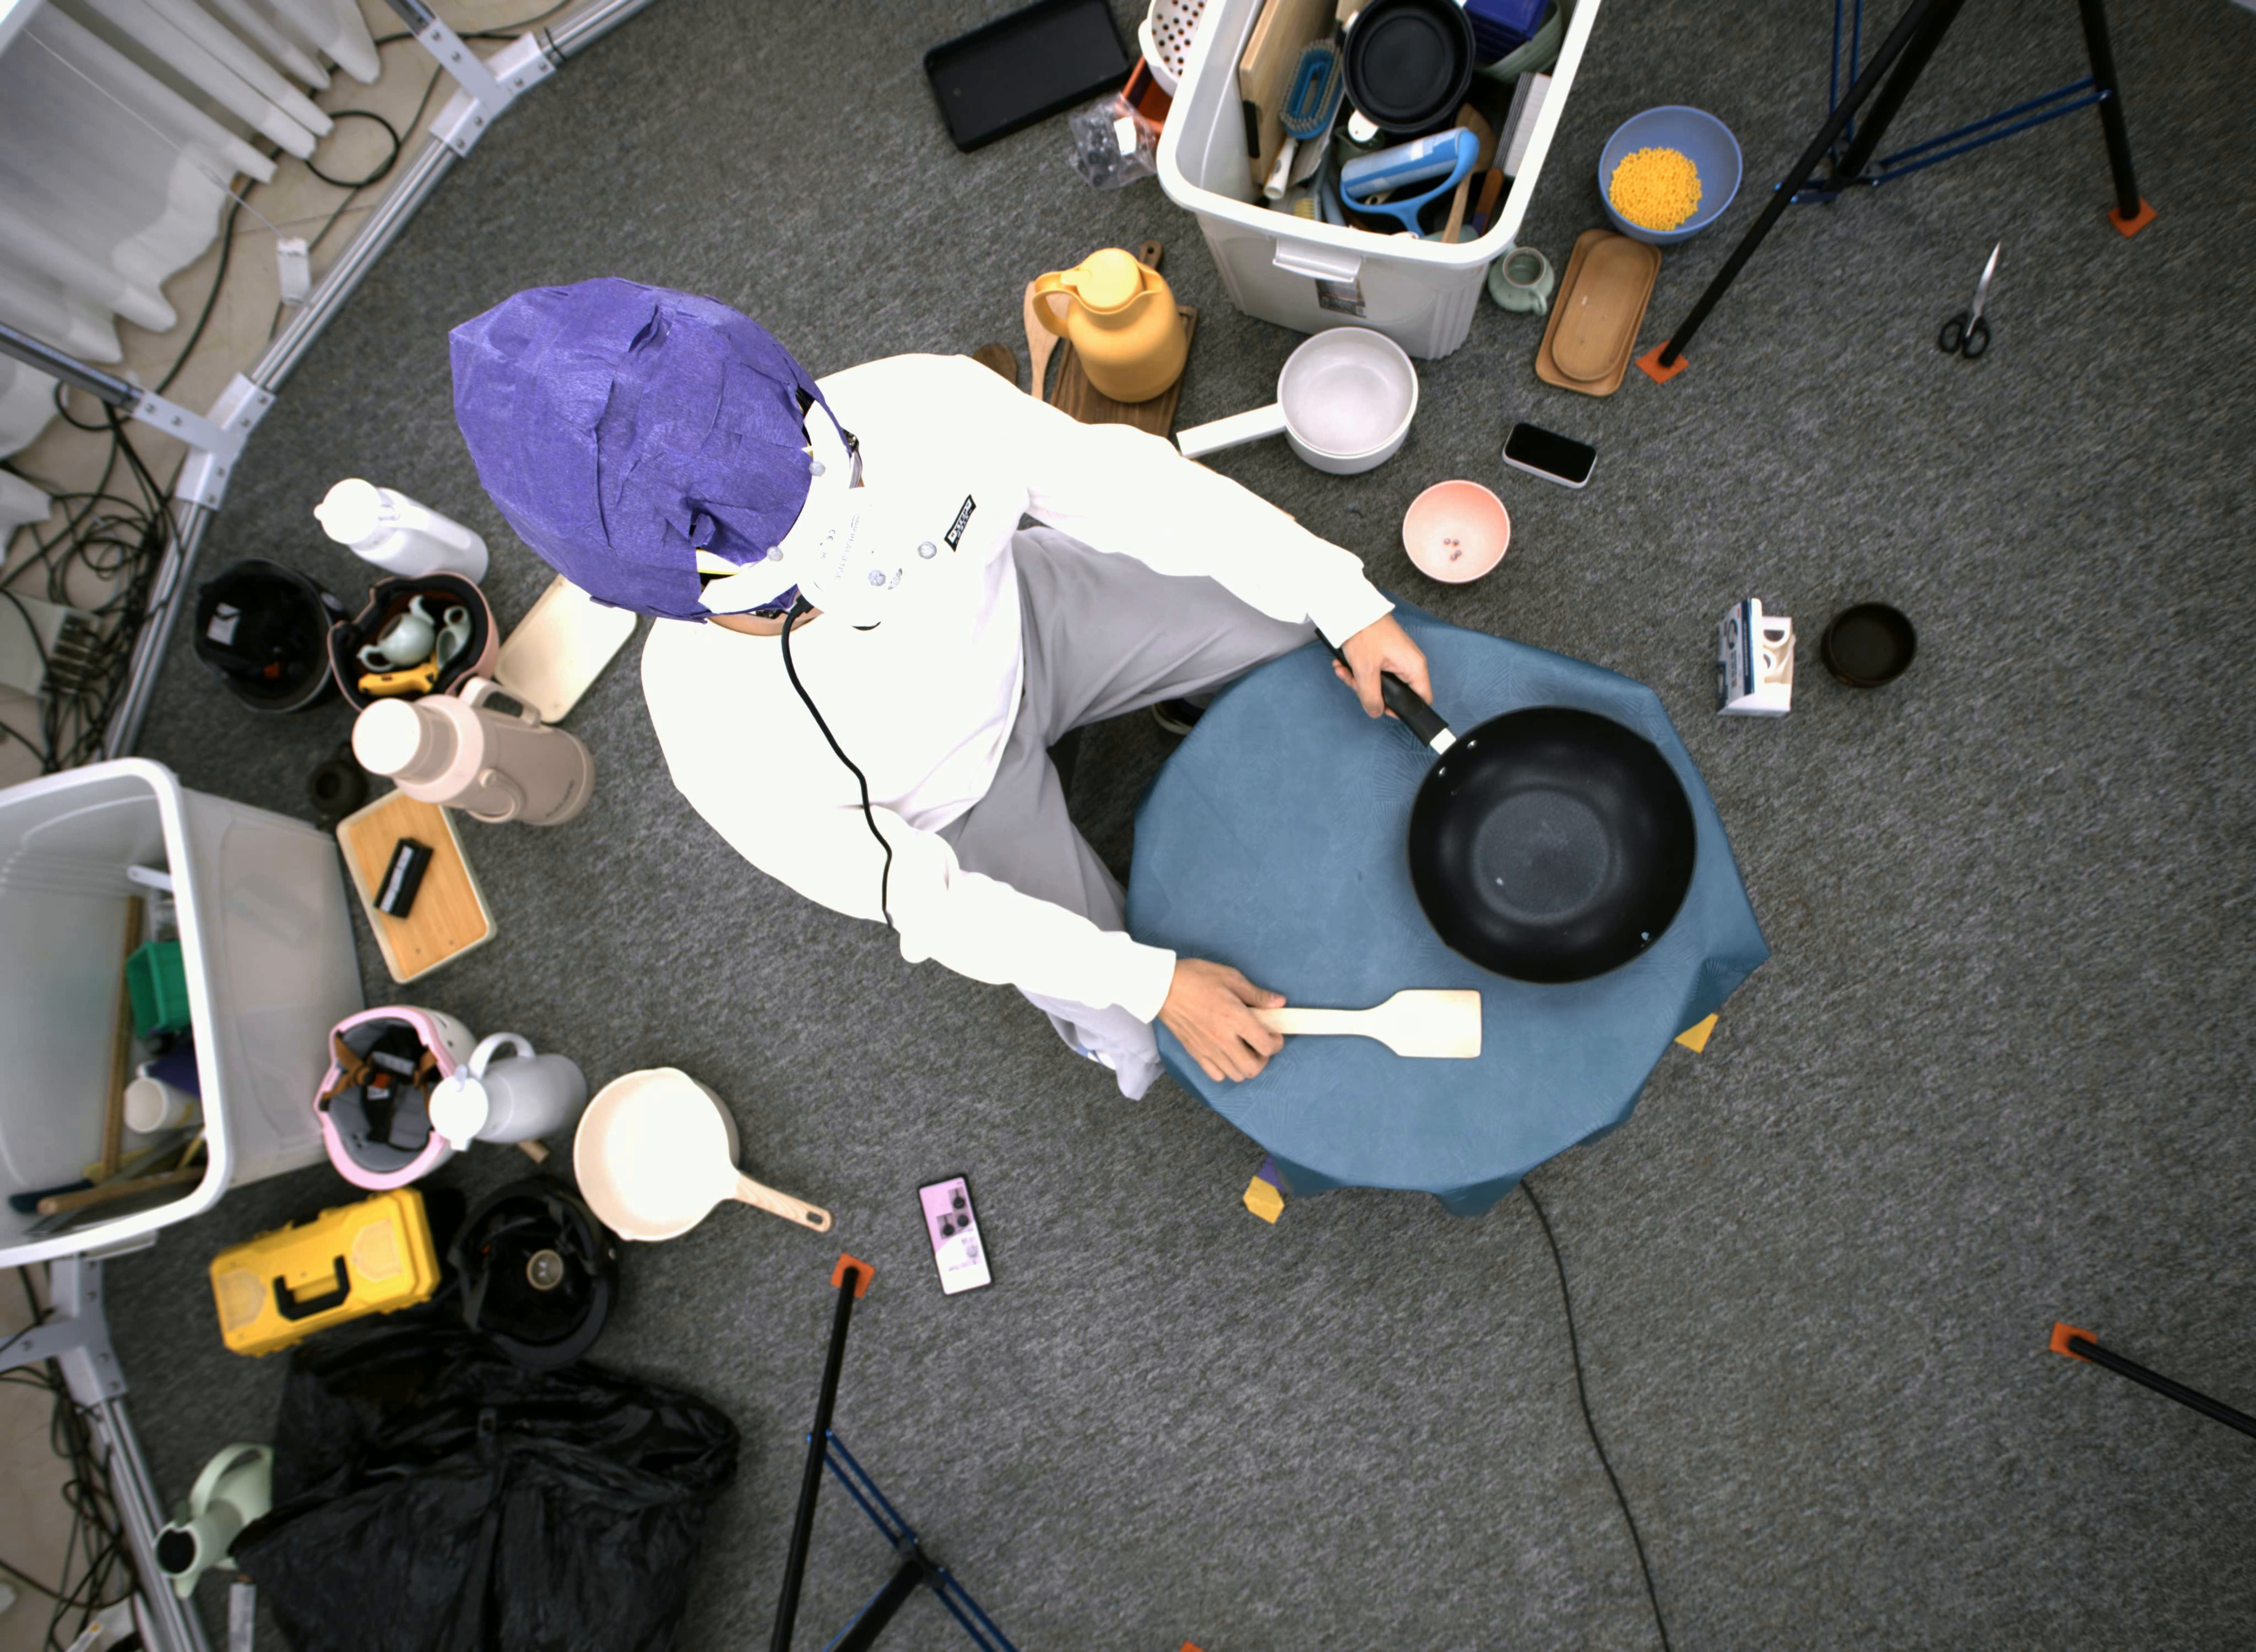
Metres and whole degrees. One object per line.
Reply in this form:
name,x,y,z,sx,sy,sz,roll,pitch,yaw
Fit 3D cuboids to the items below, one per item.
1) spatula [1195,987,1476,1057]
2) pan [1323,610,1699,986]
spatula,0.217,0.203,1.452,0.294,0.010,0.072,0,87,7
pan,0.363,-0.044,1.408,0.289,0.087,0.460,-44,77,4
